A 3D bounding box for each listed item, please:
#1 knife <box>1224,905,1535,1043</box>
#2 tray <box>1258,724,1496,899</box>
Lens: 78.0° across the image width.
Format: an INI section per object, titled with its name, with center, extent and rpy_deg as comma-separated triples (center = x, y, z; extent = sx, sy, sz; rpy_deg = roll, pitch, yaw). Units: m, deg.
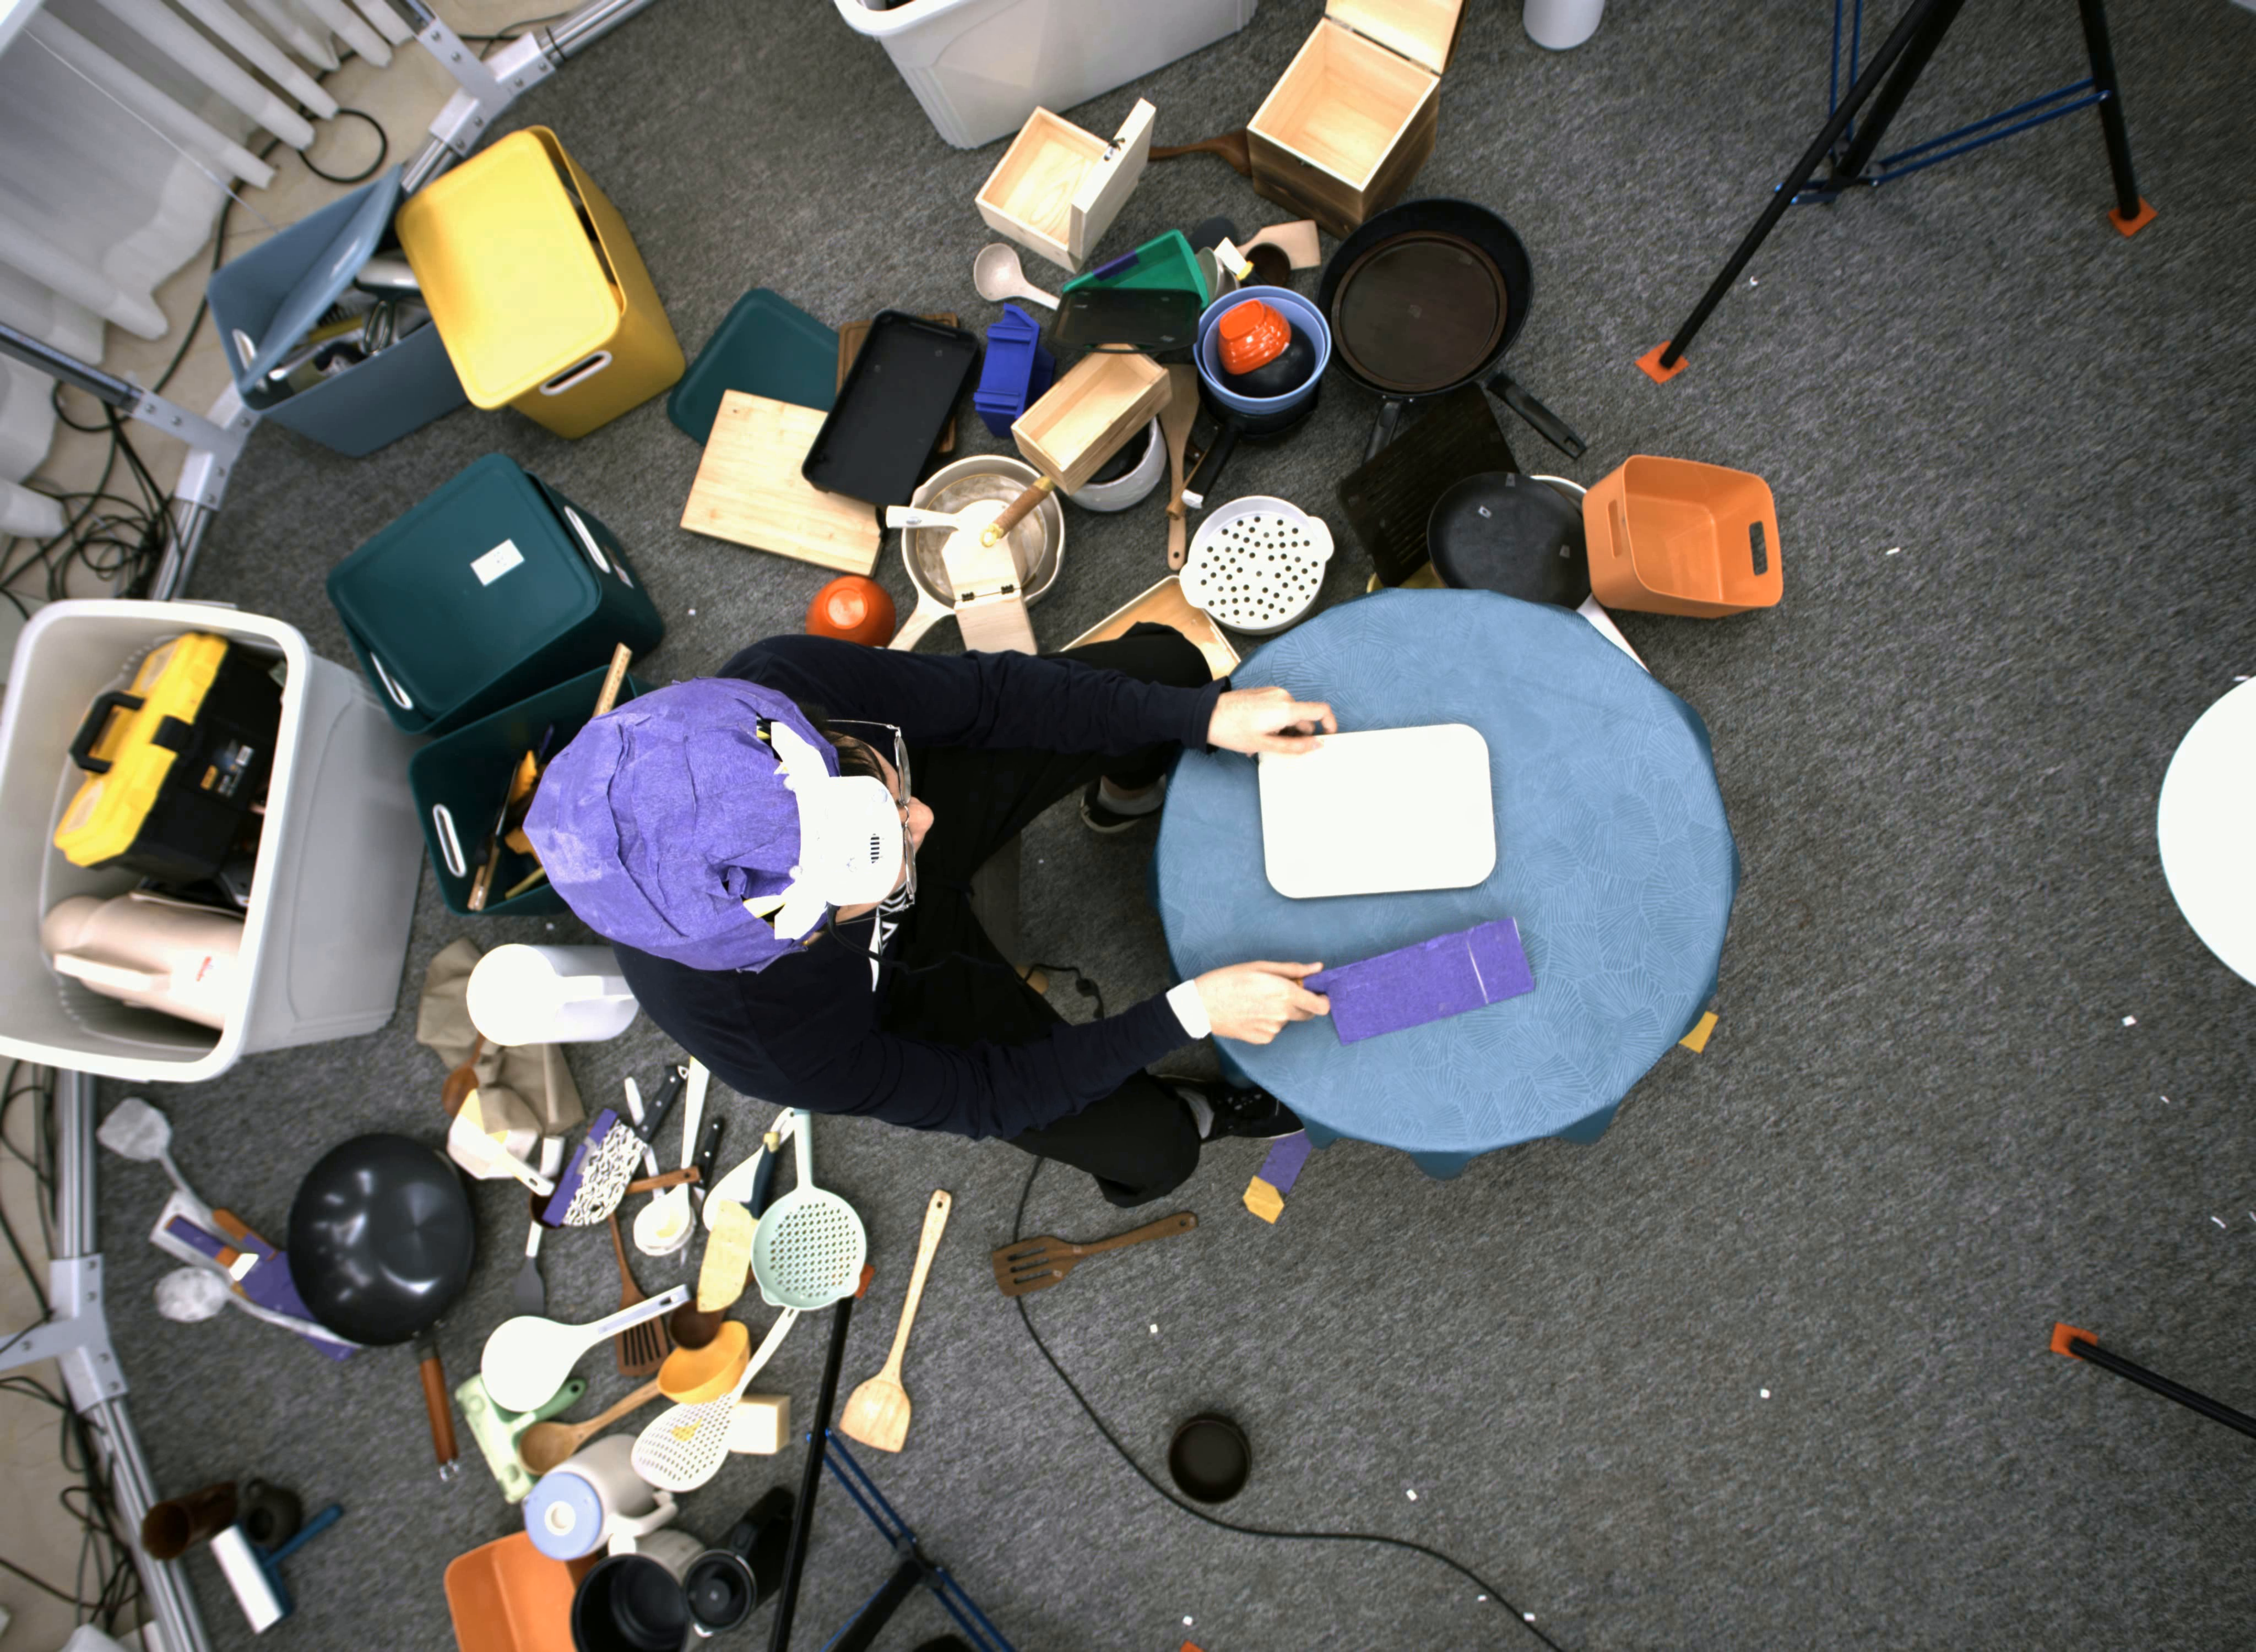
[knife]
center = 0.261, 0.172, 1.430
extent = 0.317, 0.031, 0.105
rpy_deg = -19, 107, 12
[tray]
center = 0.261, -0.016, 1.450
extent = 0.241, 0.017, 0.171
rpy_deg = -5, 93, 10
